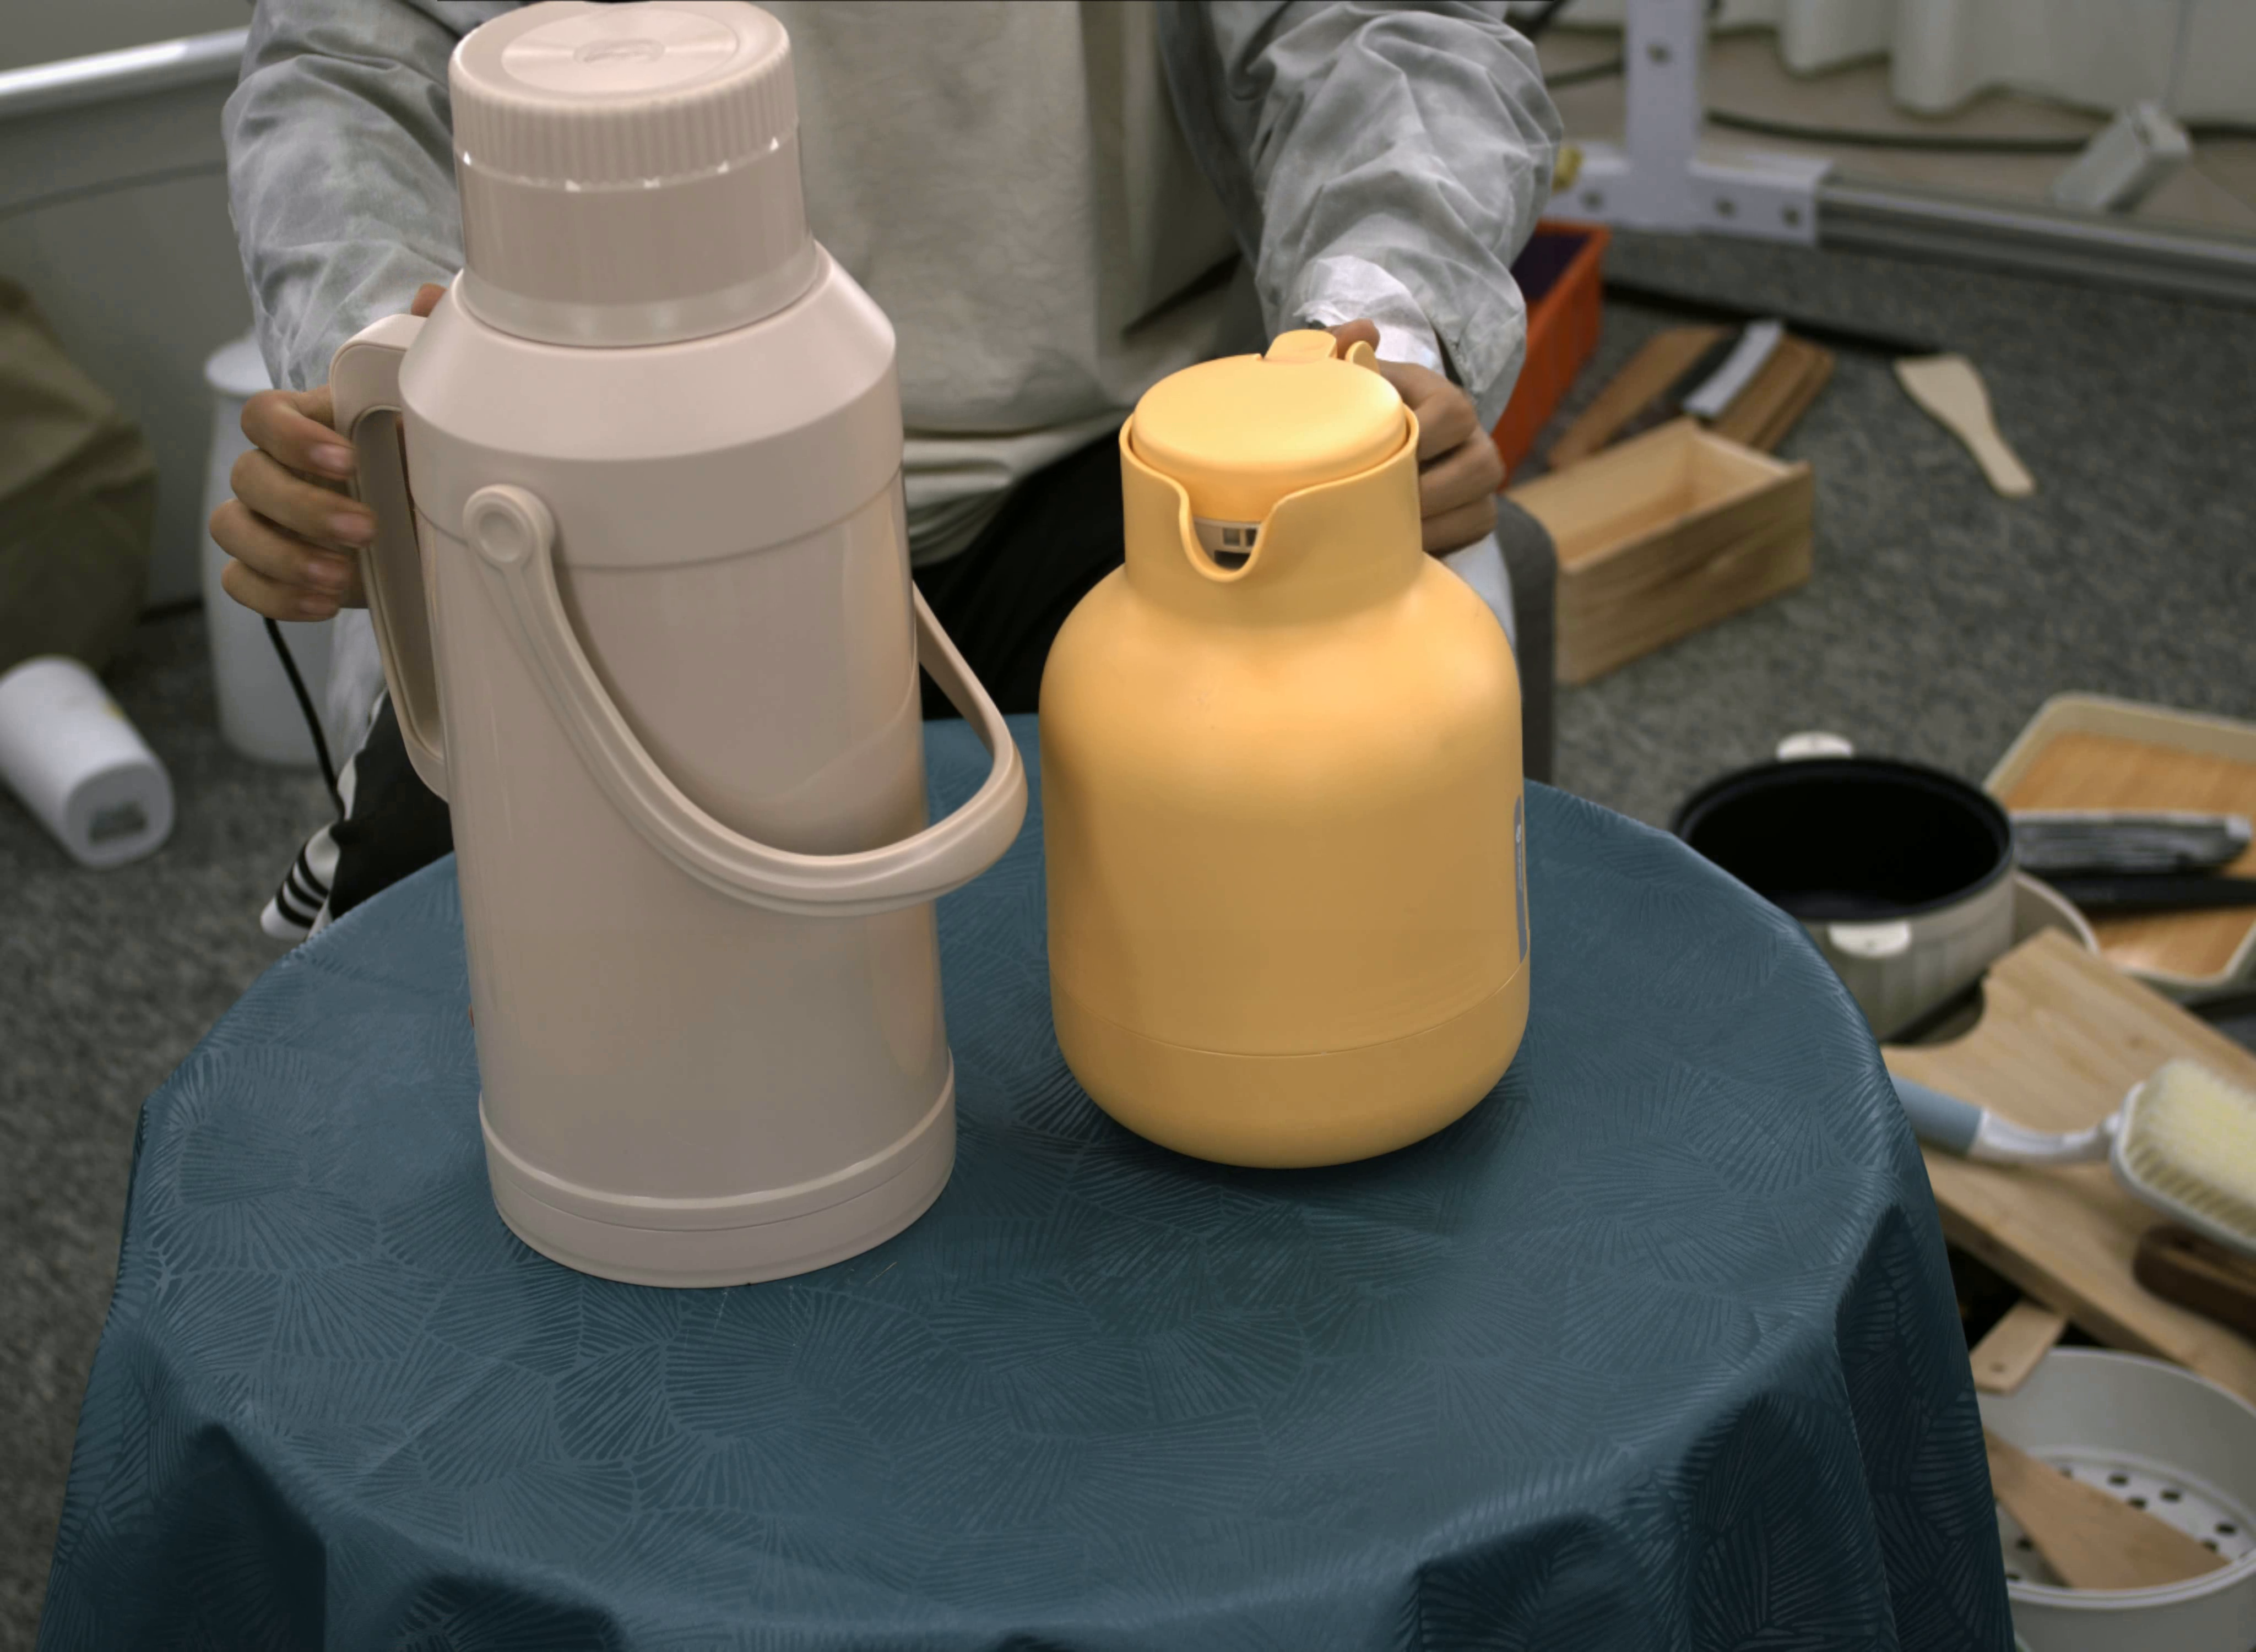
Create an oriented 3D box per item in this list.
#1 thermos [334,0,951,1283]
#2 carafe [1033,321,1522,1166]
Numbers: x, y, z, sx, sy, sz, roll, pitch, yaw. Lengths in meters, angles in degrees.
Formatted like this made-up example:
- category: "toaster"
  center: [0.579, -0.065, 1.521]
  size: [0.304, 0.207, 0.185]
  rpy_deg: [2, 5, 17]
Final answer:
- category: "thermos"
  center: [-0.158, -0.066, 1.811]
  size: [0.206, 0.402, 0.178]
  rpy_deg: [12, 30, 26]
- category: "carafe"
  center: [0.055, -0.037, 1.880]
  size: [0.162, 0.257, 0.206]
  rpy_deg: [6, 29, 14]
